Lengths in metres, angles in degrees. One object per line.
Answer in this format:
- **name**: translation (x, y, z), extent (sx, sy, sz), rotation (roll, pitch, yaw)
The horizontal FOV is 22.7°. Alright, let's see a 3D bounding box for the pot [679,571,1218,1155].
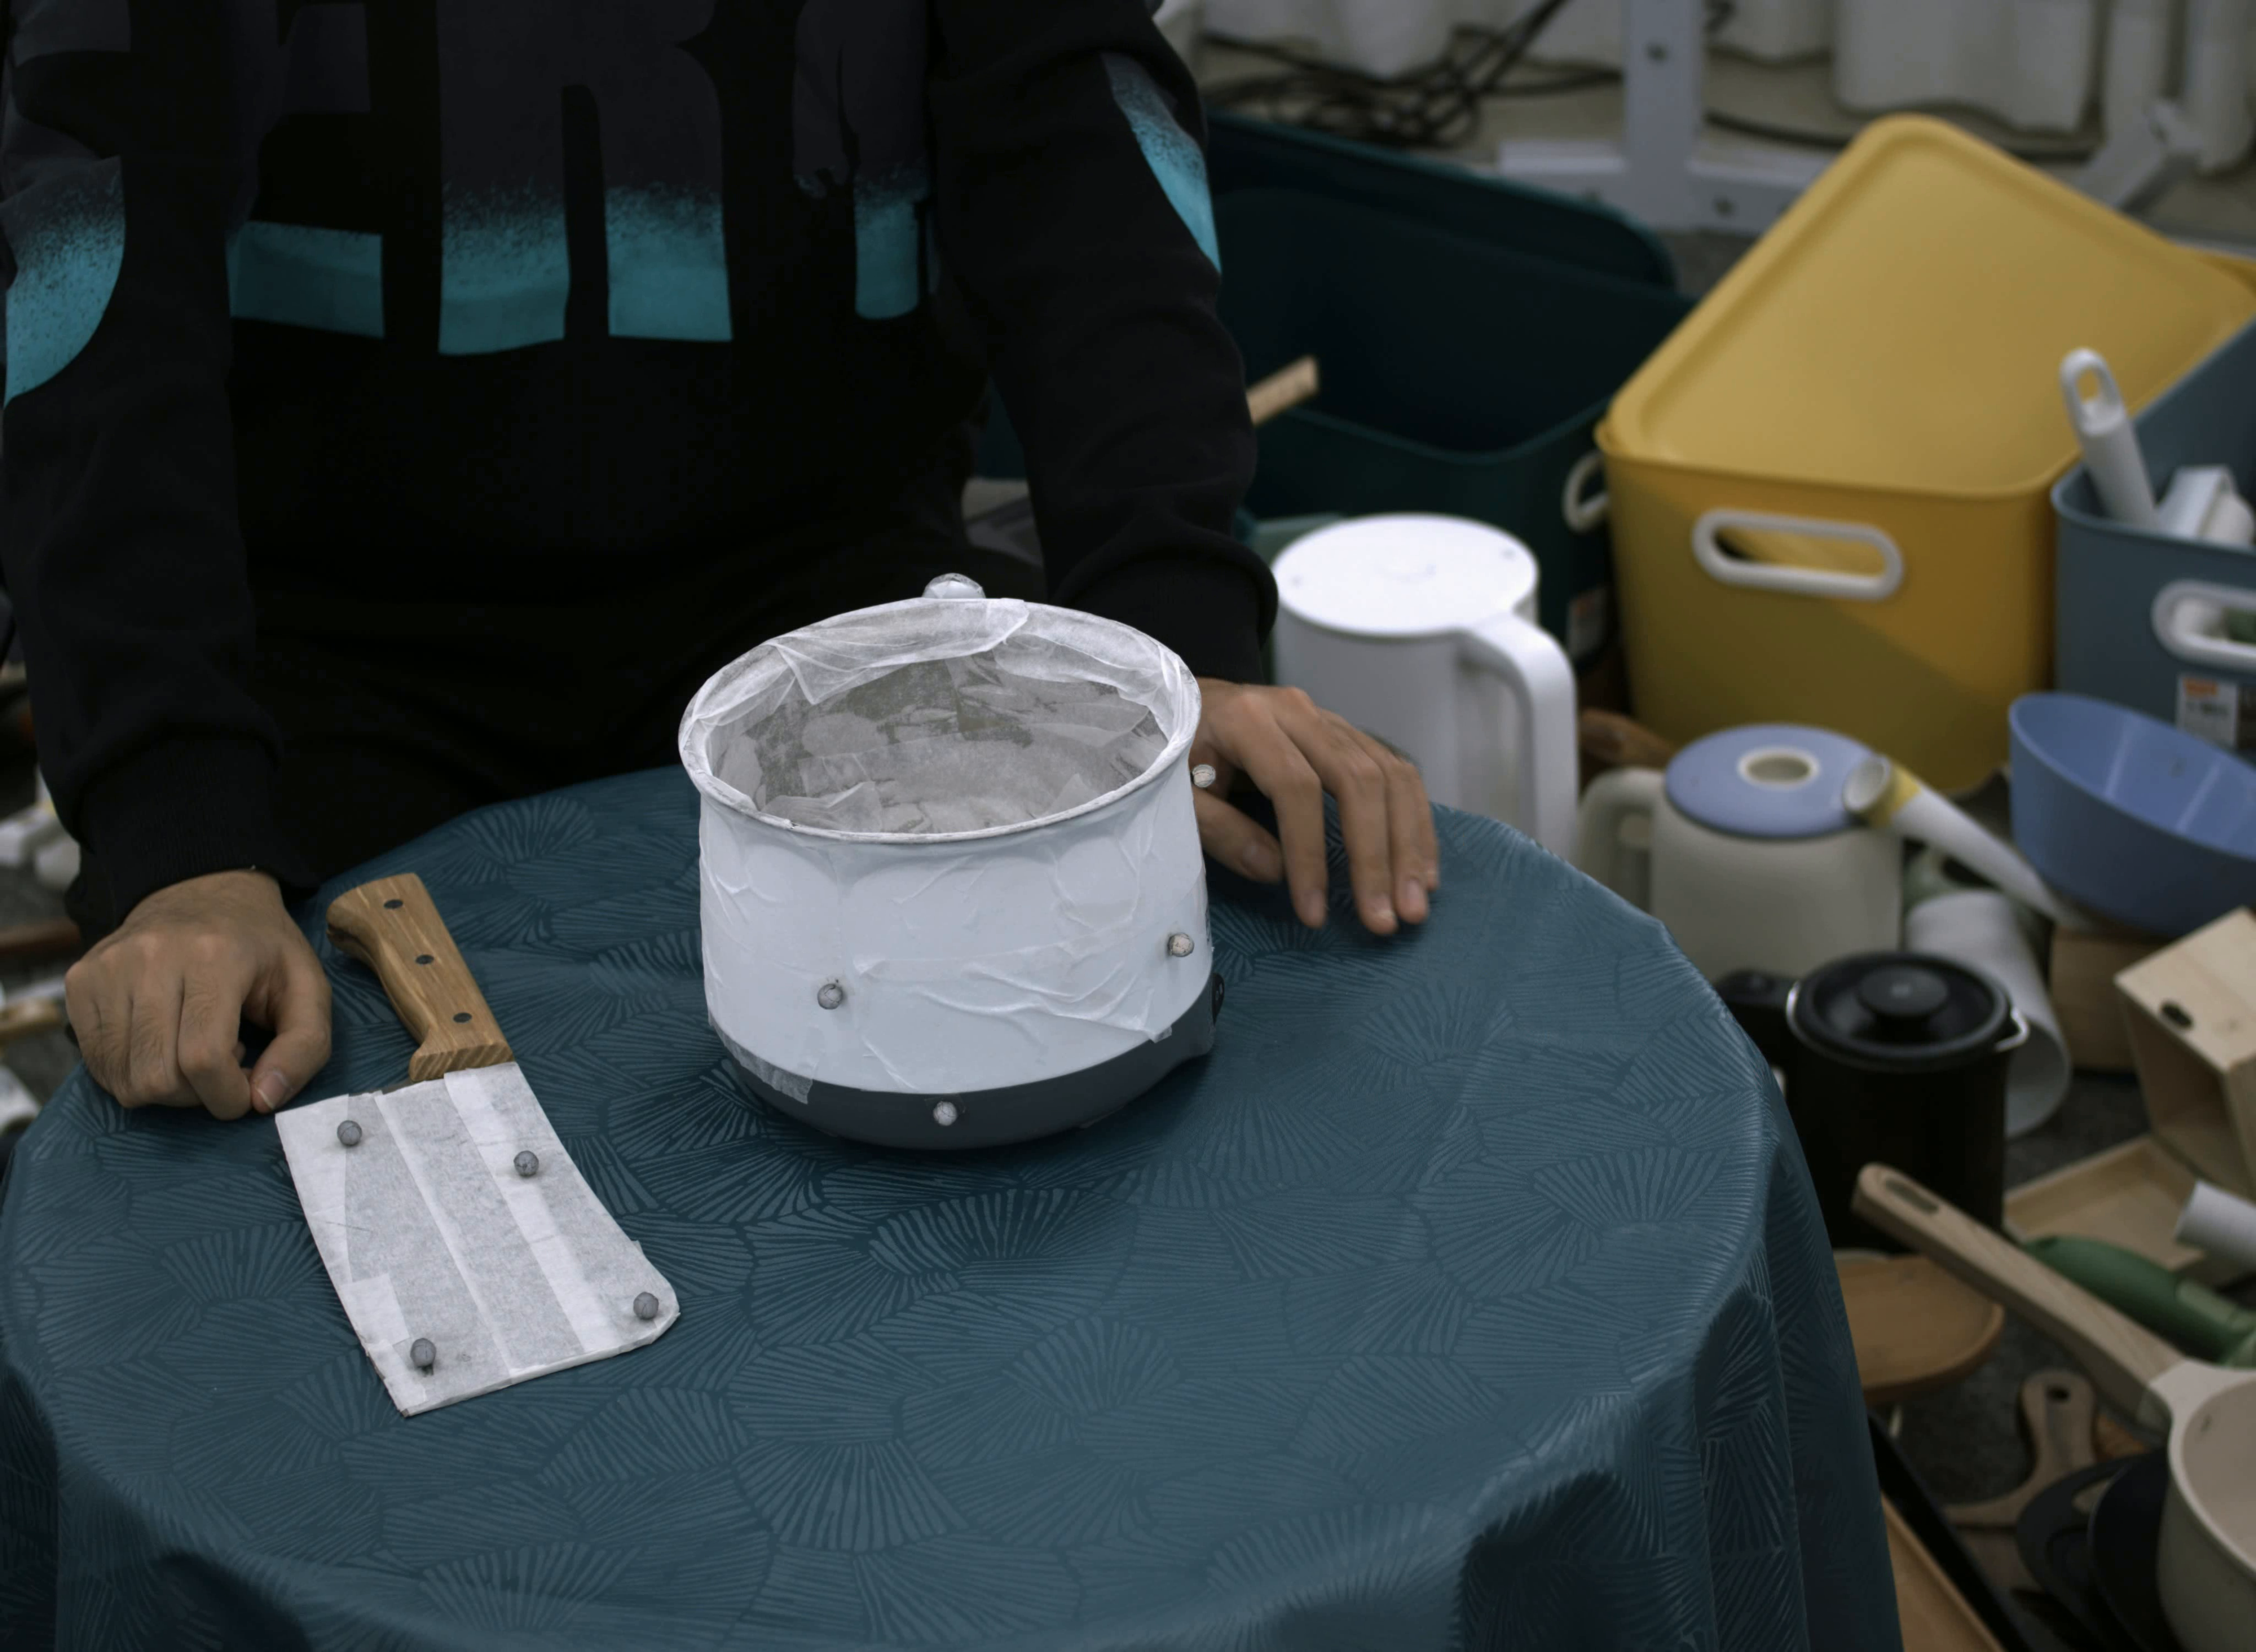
- **pot**: translation (-0.060, 0.006, 1.945), extent (0.178, 0.135, 0.237), rotation (-2, 28, 0)

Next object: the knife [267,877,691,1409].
- **knife**: translation (-0.232, 0.103, 1.902), extent (0.114, 0.021, 0.319), rotation (-11, 31, -14)
